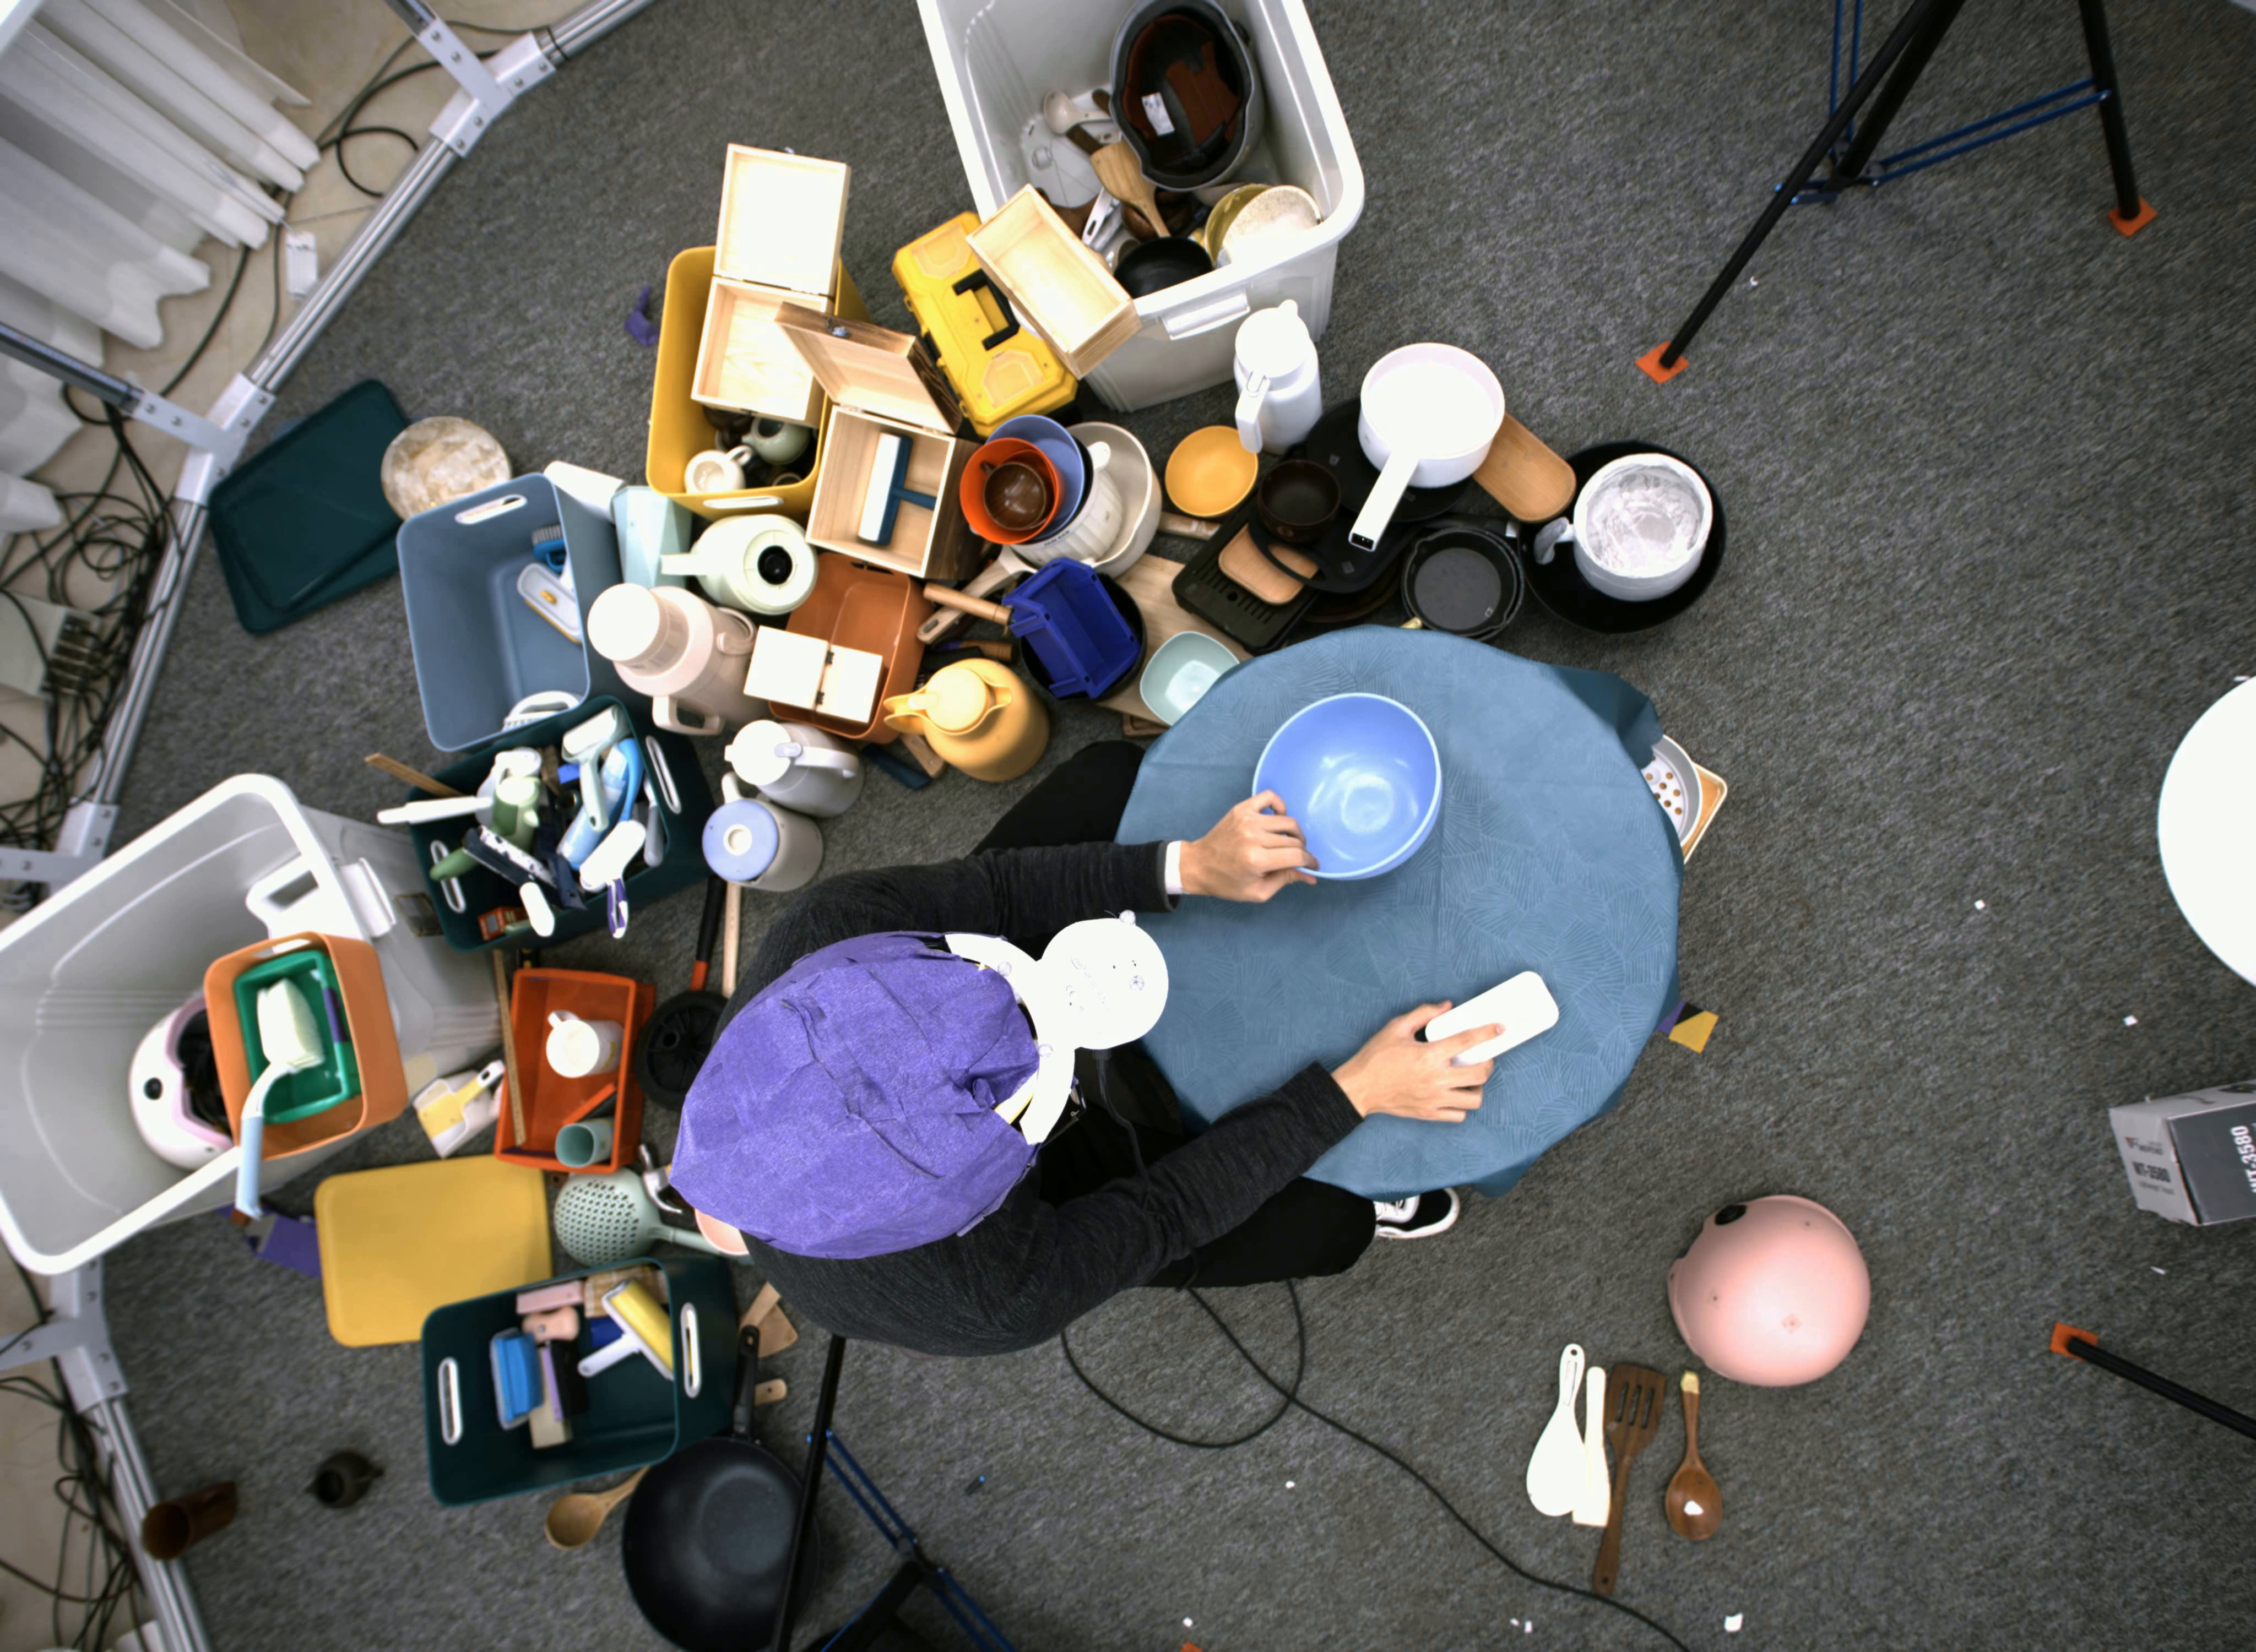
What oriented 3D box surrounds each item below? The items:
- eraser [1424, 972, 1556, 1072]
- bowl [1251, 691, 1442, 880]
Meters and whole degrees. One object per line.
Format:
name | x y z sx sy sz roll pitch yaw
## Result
eraser | 0.371 0.198 1.418 0.132 0.034 0.063 -27 82 6
bowl | 0.234 -0.031 1.413 0.198 0.096 0.193 -8 72 25
